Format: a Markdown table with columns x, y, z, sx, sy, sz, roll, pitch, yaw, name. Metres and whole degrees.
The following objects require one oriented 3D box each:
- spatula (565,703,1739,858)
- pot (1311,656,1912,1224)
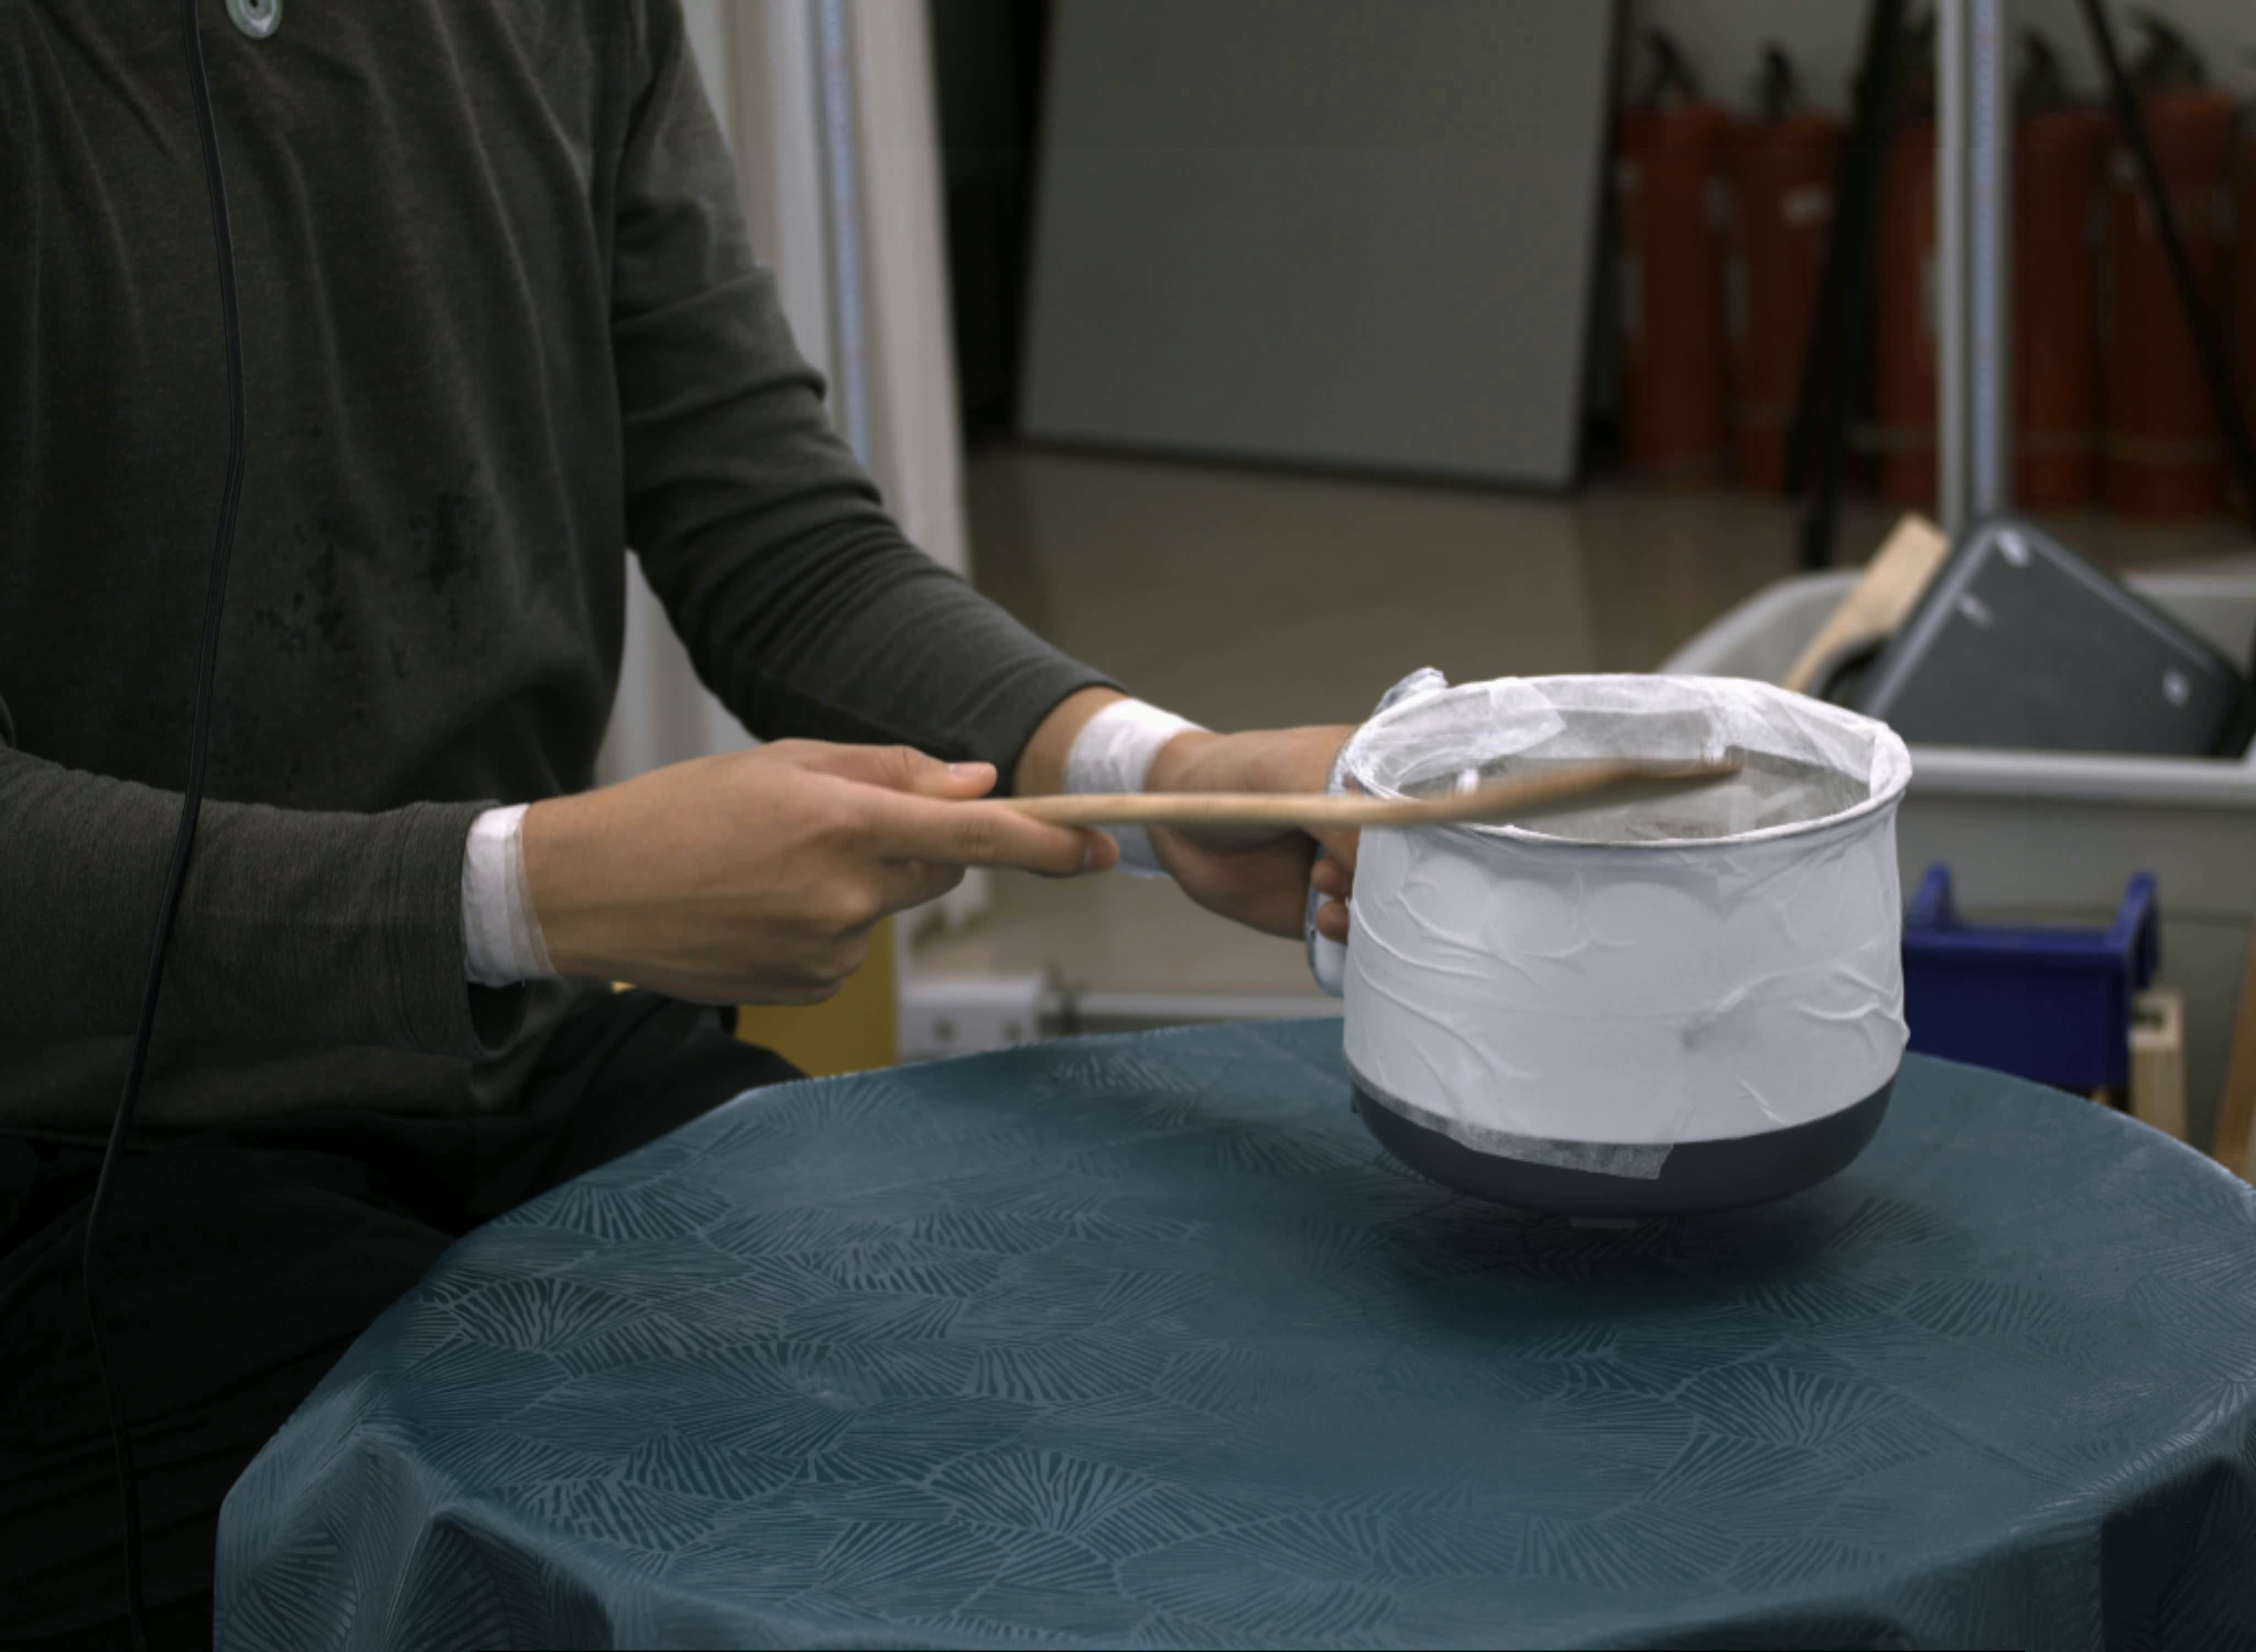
| x | y | z | sx | sy | sz | roll | pitch | yaw | name |
| --- | --- | --- | --- | --- | --- | --- | --- | --- | --- |
| -0.005 | -0.011 | 1.606 | 0.392 | 0.019 | 0.094 | -4 | -6 | 28 | spatula |
| 0.138 | 0.028 | 1.704 | 0.175 | 0.138 | 0.236 | -13 | 21 | -35 | pot |
